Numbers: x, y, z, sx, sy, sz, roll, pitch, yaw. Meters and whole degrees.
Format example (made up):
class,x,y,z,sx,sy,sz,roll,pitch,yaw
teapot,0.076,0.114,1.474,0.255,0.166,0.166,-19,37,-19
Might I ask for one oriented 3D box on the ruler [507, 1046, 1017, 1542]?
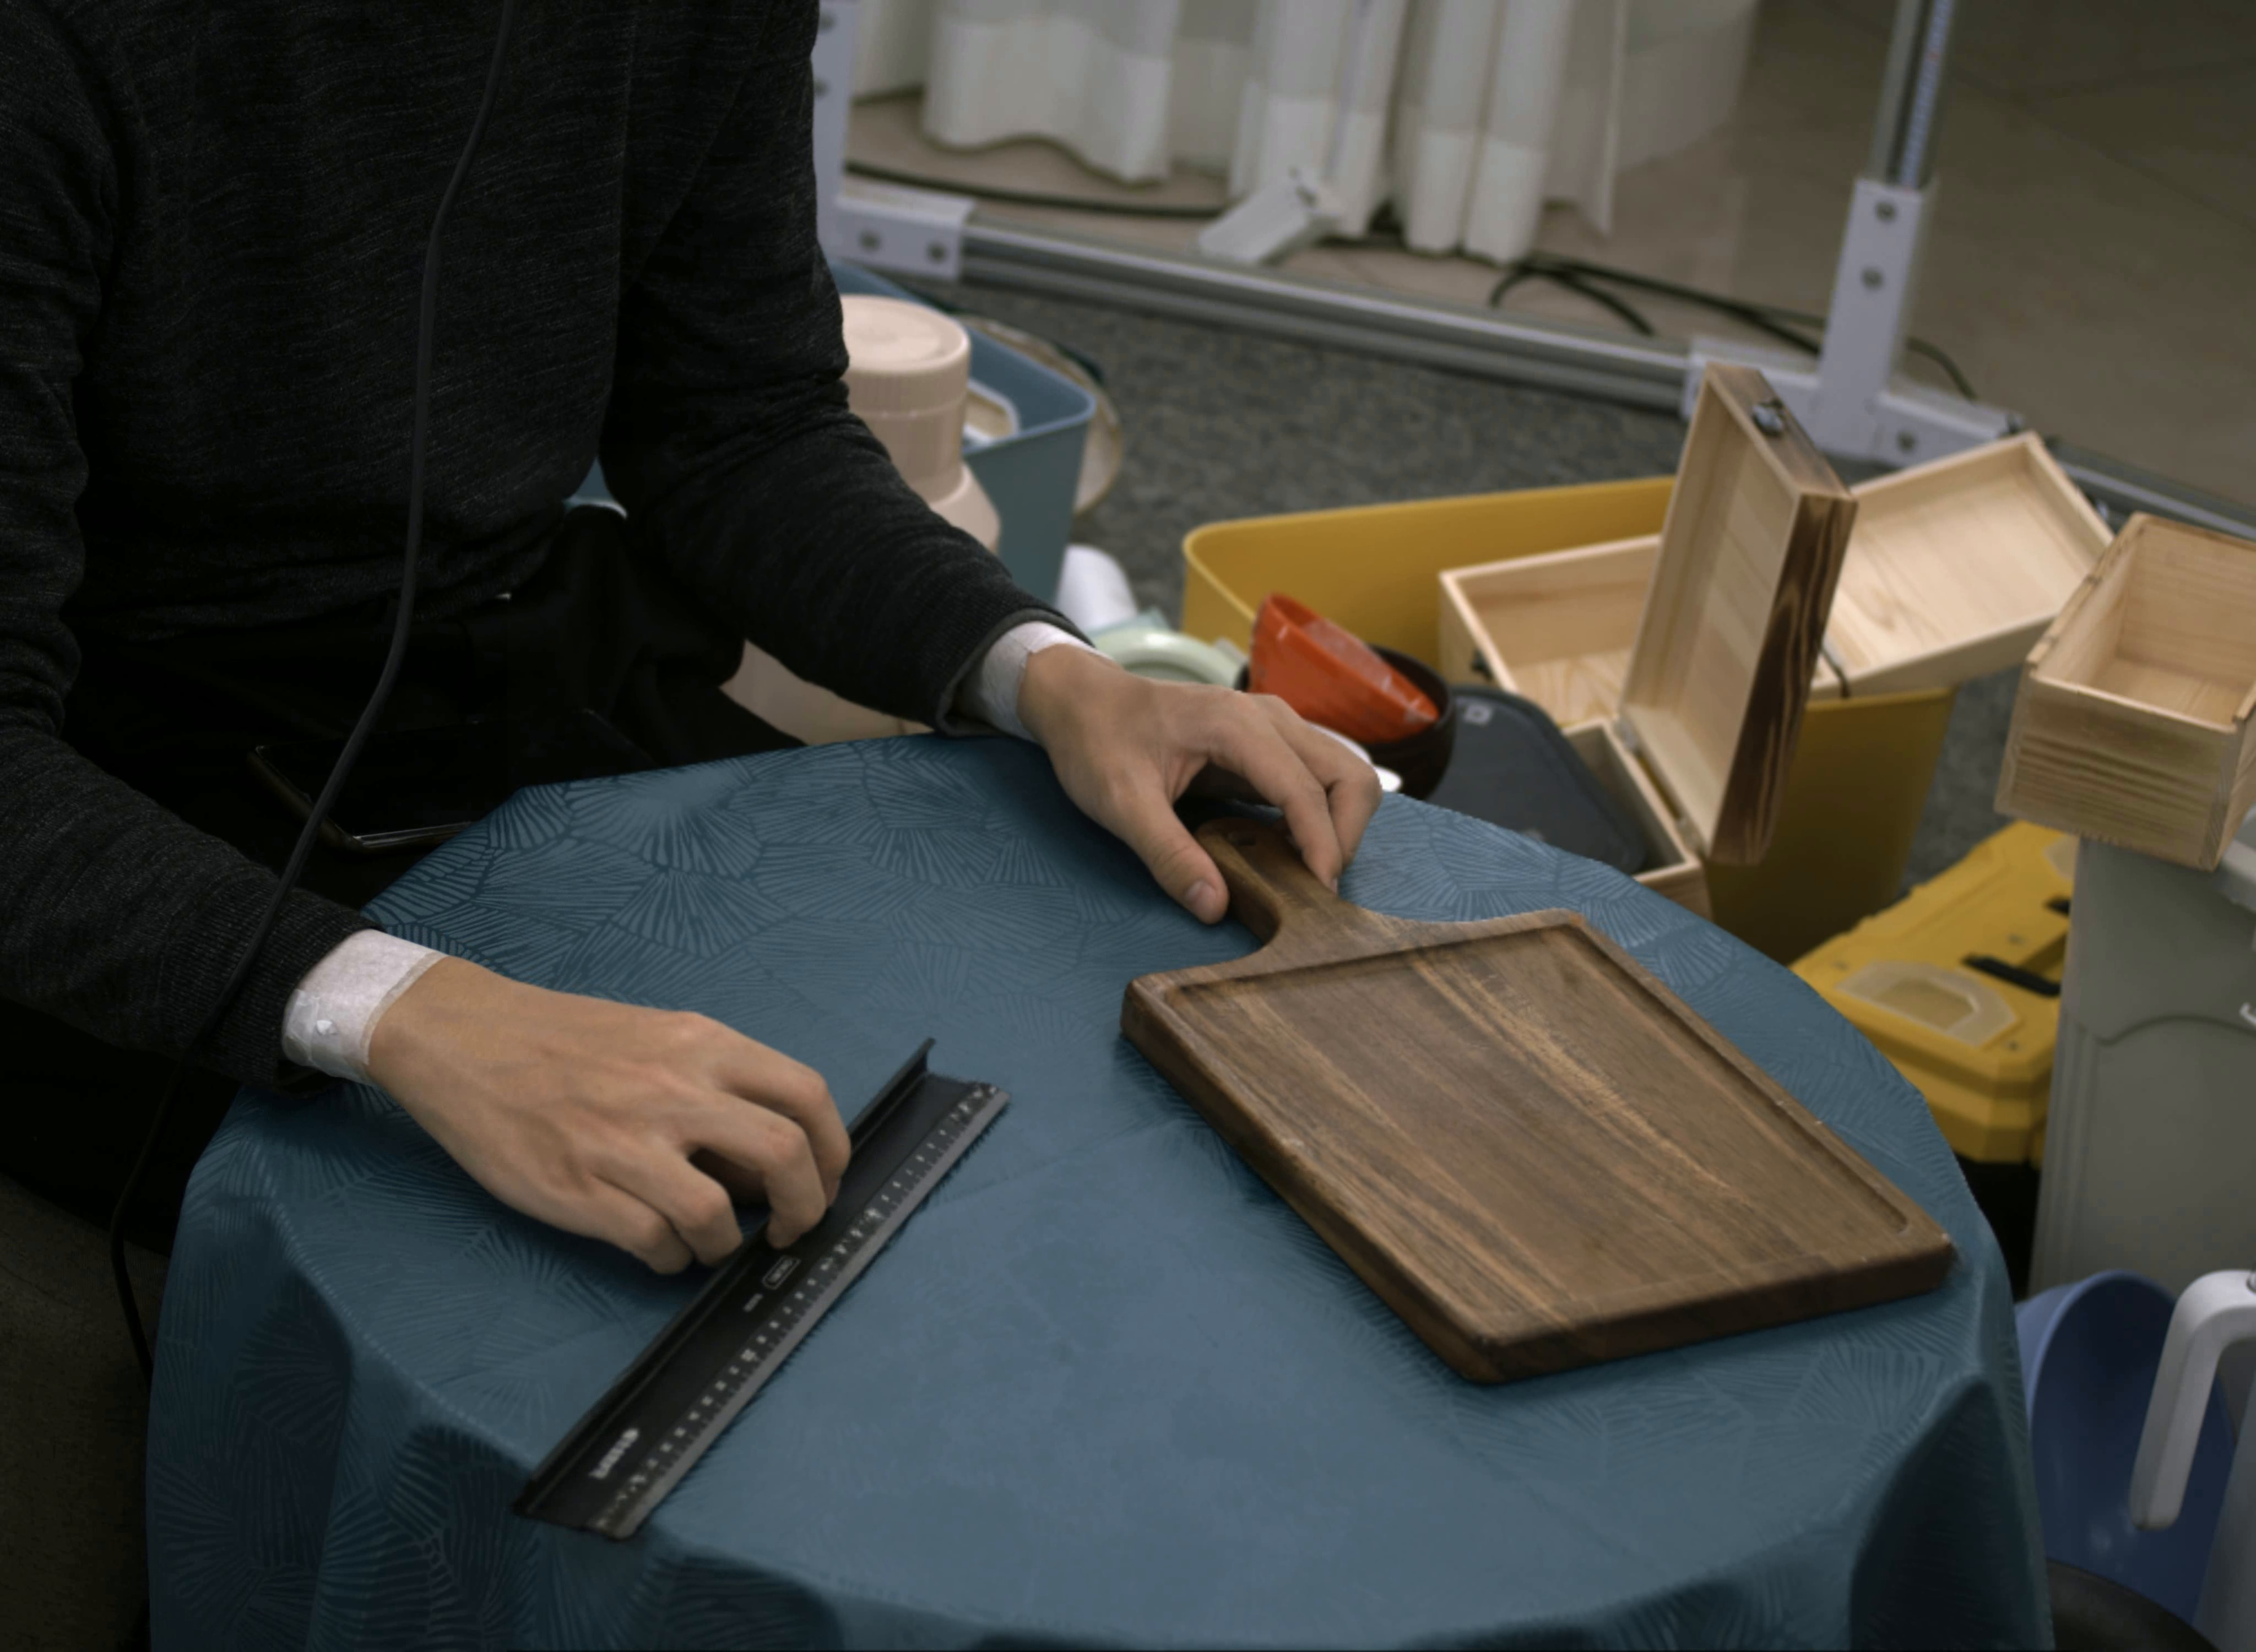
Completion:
class,x,y,z,sx,sy,sz,roll,pitch,yaw
ruler,-0.112,0.145,1.717,0.039,0.017,0.312,16,28,17

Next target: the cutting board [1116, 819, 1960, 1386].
class,x,y,z,sx,sy,sz,roll,pitch,yaw
cutting board,0.115,0.083,1.884,0.200,0.023,0.355,-9,30,-27
